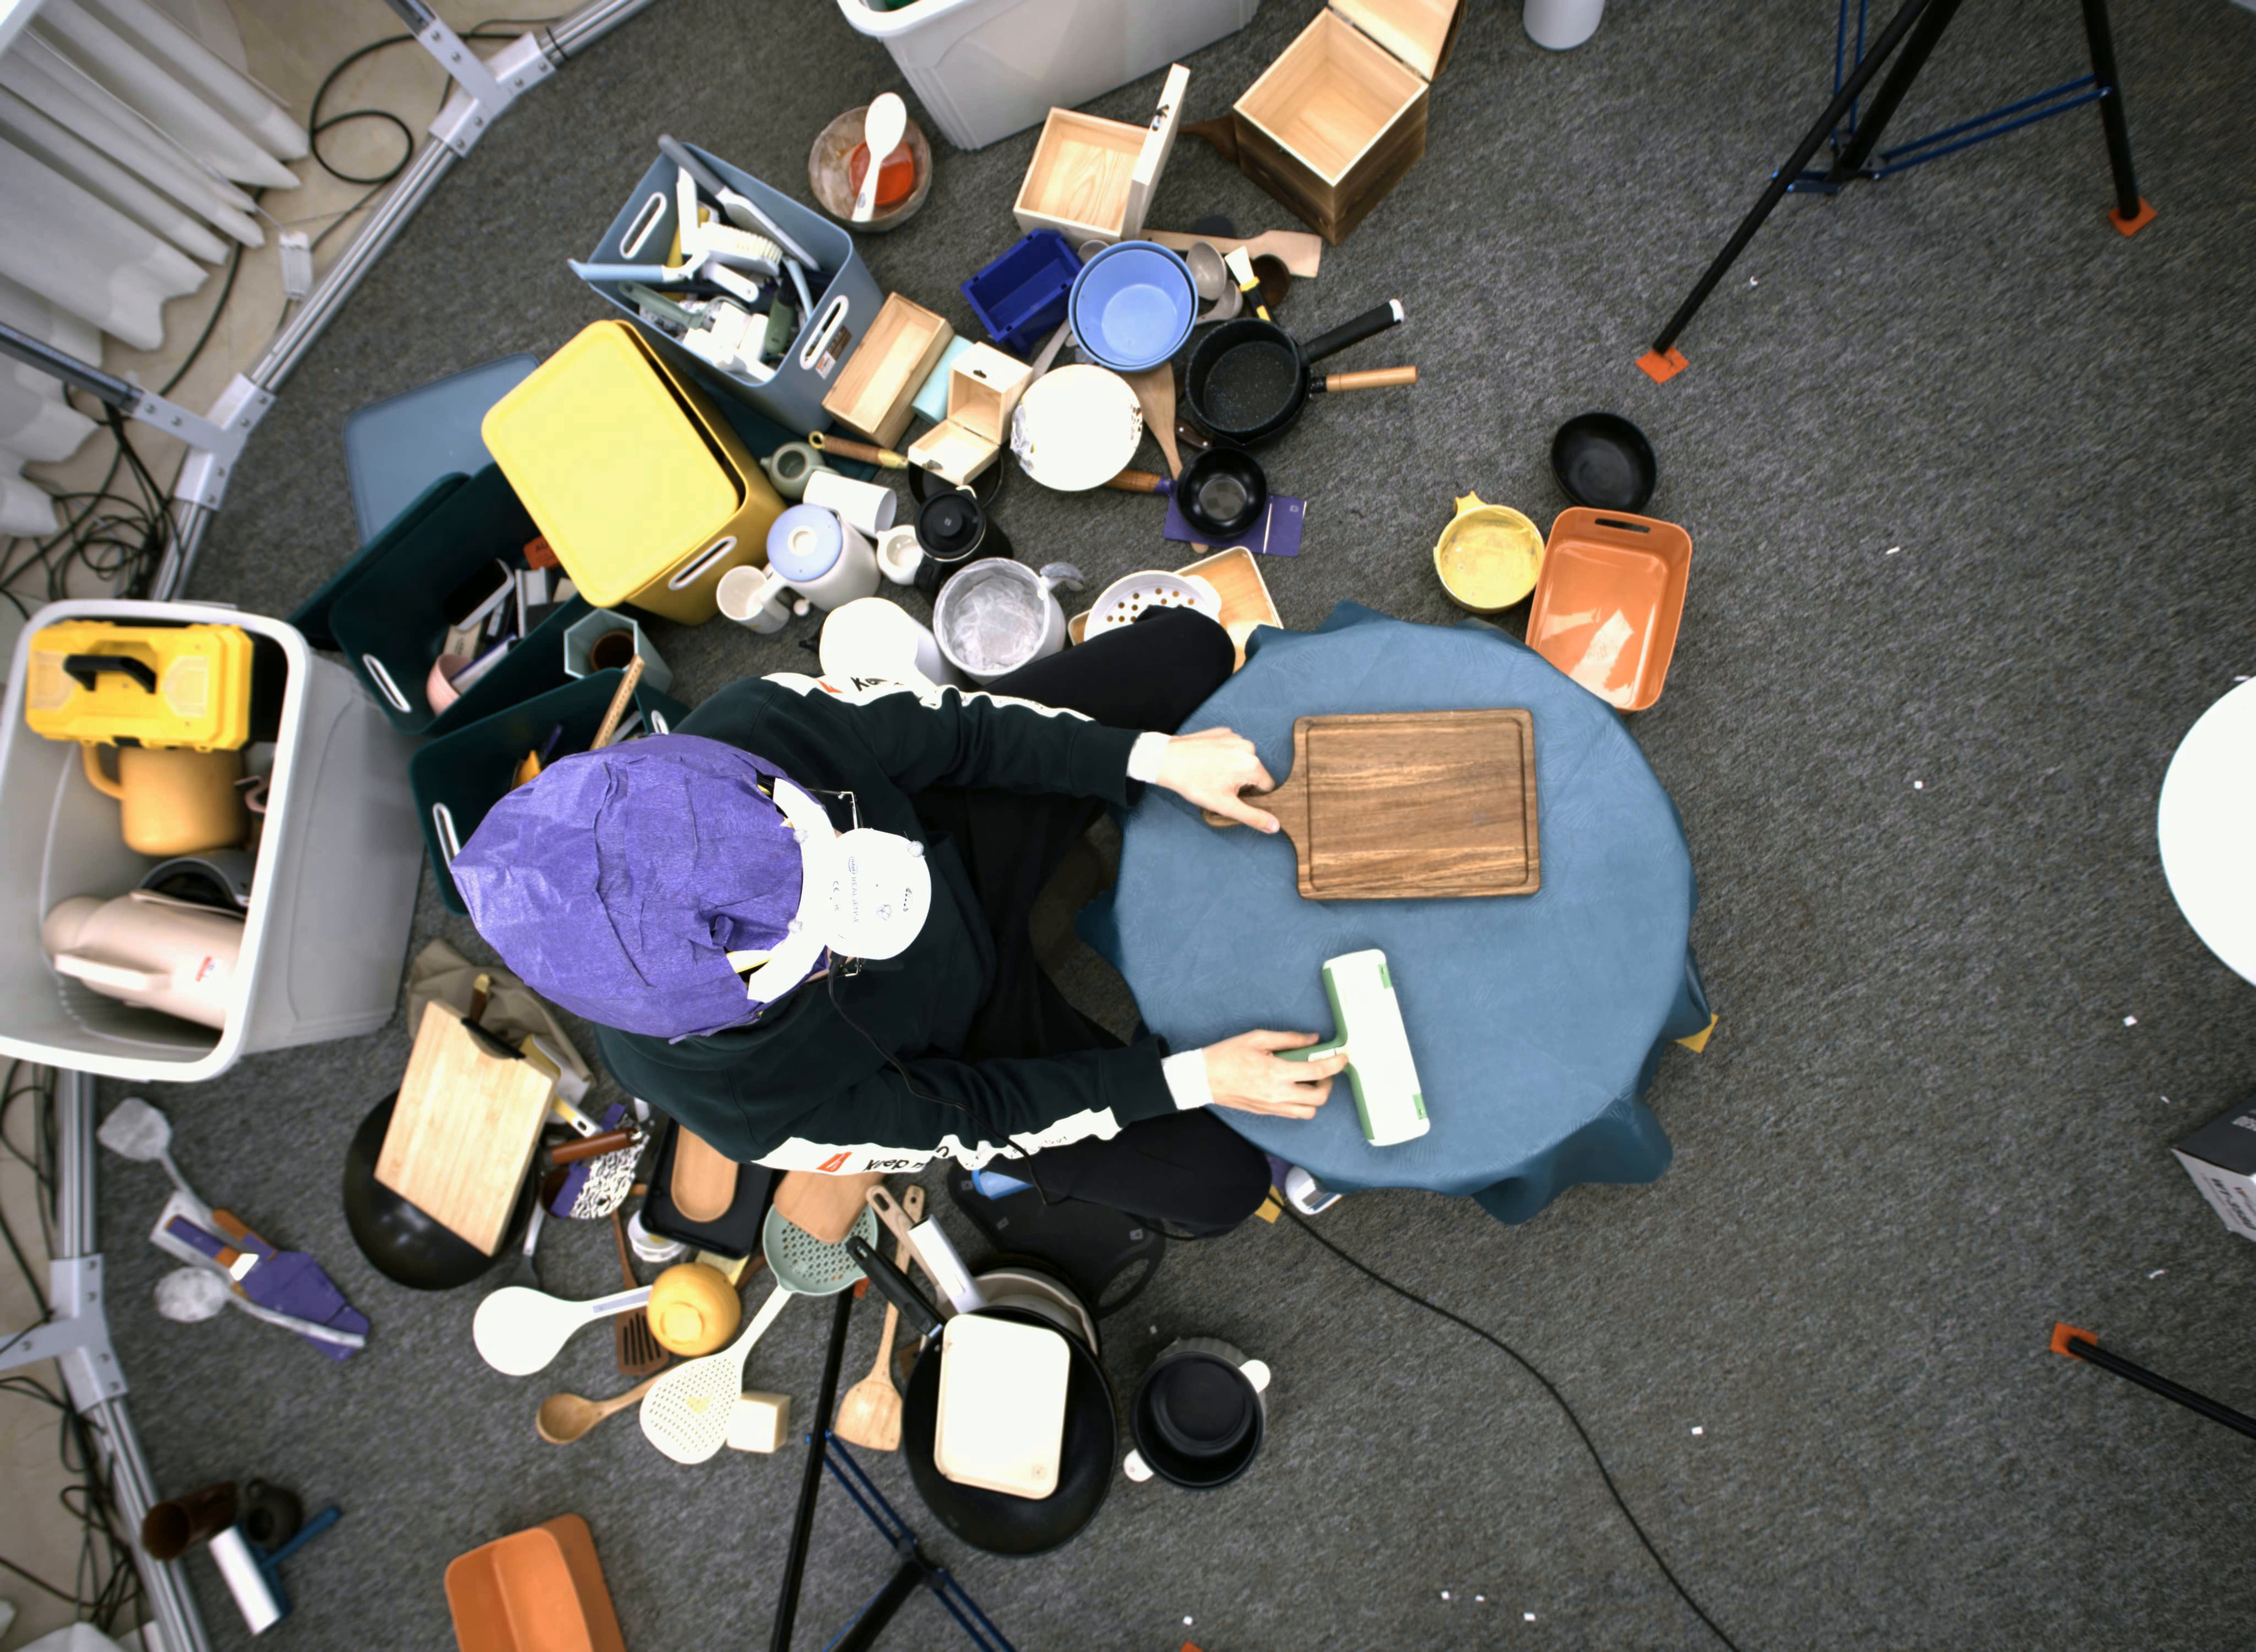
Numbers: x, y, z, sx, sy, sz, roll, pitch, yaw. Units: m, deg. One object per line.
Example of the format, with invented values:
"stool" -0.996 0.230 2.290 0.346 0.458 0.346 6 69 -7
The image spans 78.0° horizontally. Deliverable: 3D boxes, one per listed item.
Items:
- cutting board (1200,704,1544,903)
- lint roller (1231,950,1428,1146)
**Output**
"cutting board" 0.251 -0.023 1.444 0.353 0.023 0.200 -2 87 7
"lint roller" 0.196 0.239 1.419 0.184 0.082 0.197 -14 84 3
